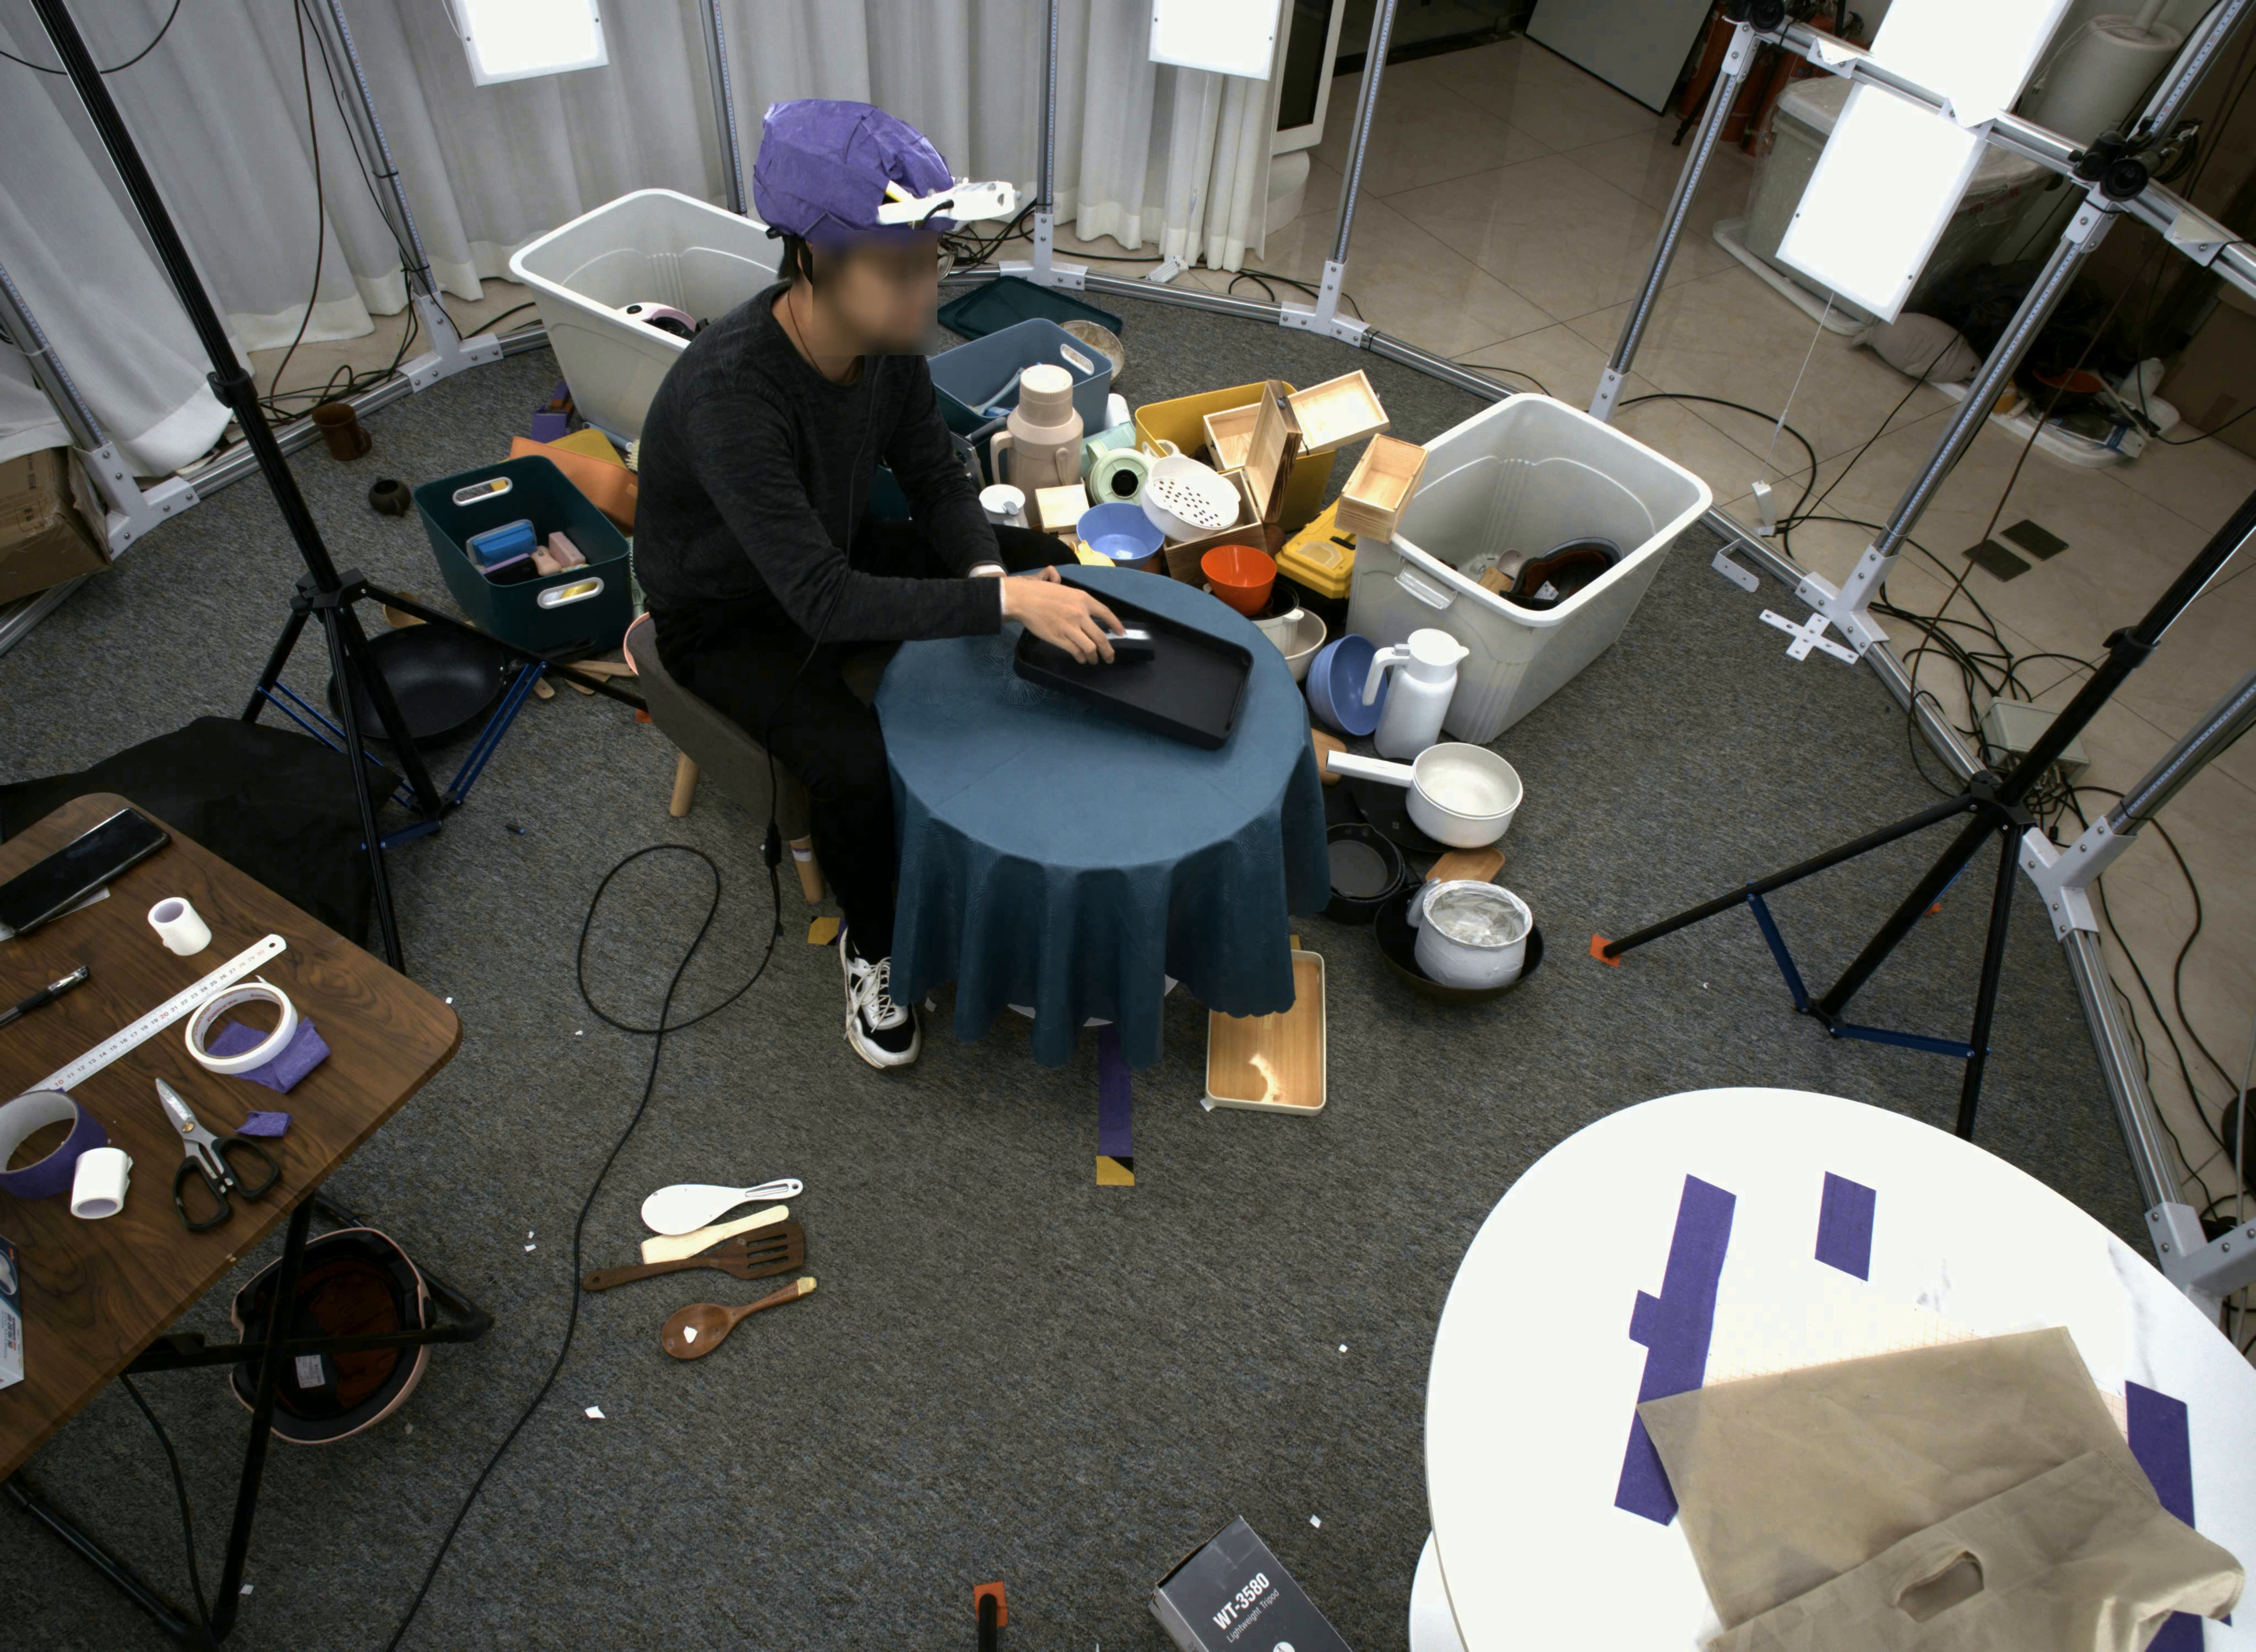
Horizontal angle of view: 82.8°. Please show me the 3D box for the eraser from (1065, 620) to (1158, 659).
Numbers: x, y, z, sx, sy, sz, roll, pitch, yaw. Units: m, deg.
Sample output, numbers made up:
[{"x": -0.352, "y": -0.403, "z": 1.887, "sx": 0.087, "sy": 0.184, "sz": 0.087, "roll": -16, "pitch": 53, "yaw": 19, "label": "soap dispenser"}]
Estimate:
[{"x": -0.023, "y": -0.261, "z": 1.794, "sx": 0.125, "sy": 0.030, "sz": 0.055, "roll": -4, "pitch": 55, "yaw": -29, "label": "eraser"}]

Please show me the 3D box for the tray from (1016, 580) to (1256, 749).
[{"x": 0.014, "y": -0.229, "z": 1.808, "sx": 0.318, "sy": 0.036, "sz": 0.188, "roll": 19, "pitch": 52, "yaw": -1, "label": "tray"}]
